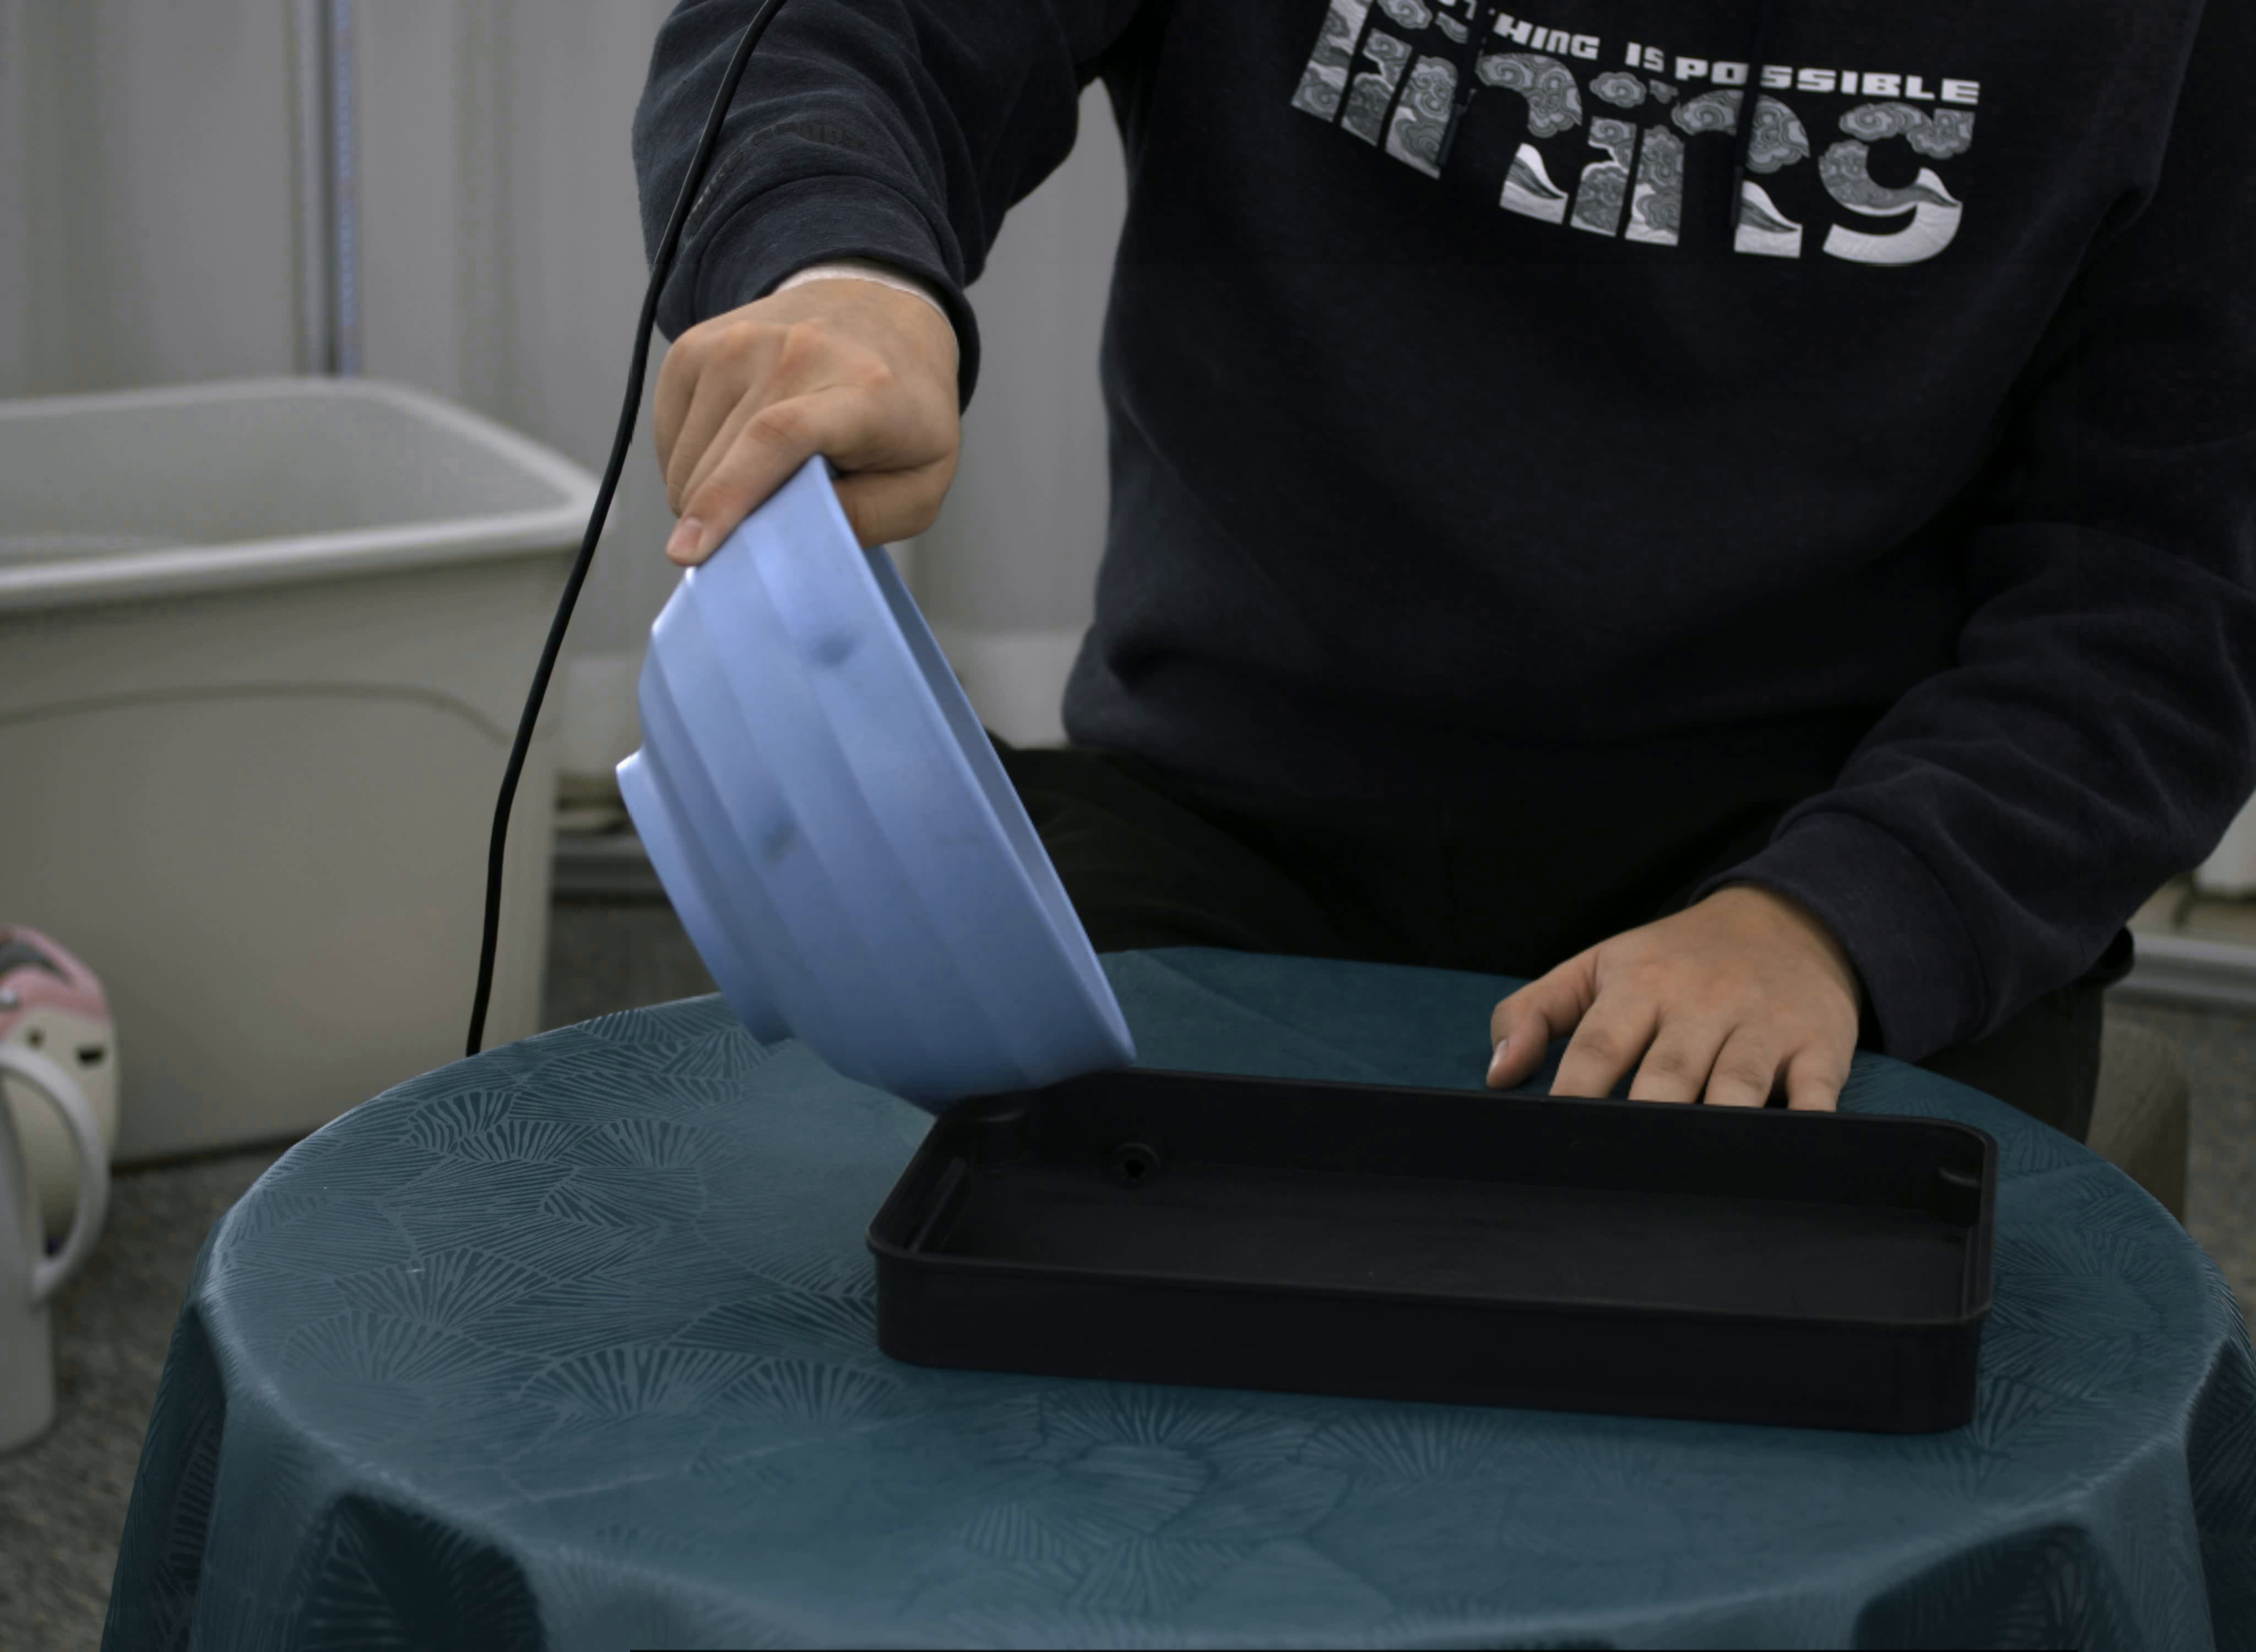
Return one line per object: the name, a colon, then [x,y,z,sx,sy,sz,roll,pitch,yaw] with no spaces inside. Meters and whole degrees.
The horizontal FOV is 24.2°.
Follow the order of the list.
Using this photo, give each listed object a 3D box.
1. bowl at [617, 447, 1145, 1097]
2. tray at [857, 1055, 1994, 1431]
bowl: [-0.083,0.000,1.500,0.095,0.198,0.195,-28,17,3]
tray: [0.091,0.118,1.538,0.316,0.037,0.184,3,15,8]
